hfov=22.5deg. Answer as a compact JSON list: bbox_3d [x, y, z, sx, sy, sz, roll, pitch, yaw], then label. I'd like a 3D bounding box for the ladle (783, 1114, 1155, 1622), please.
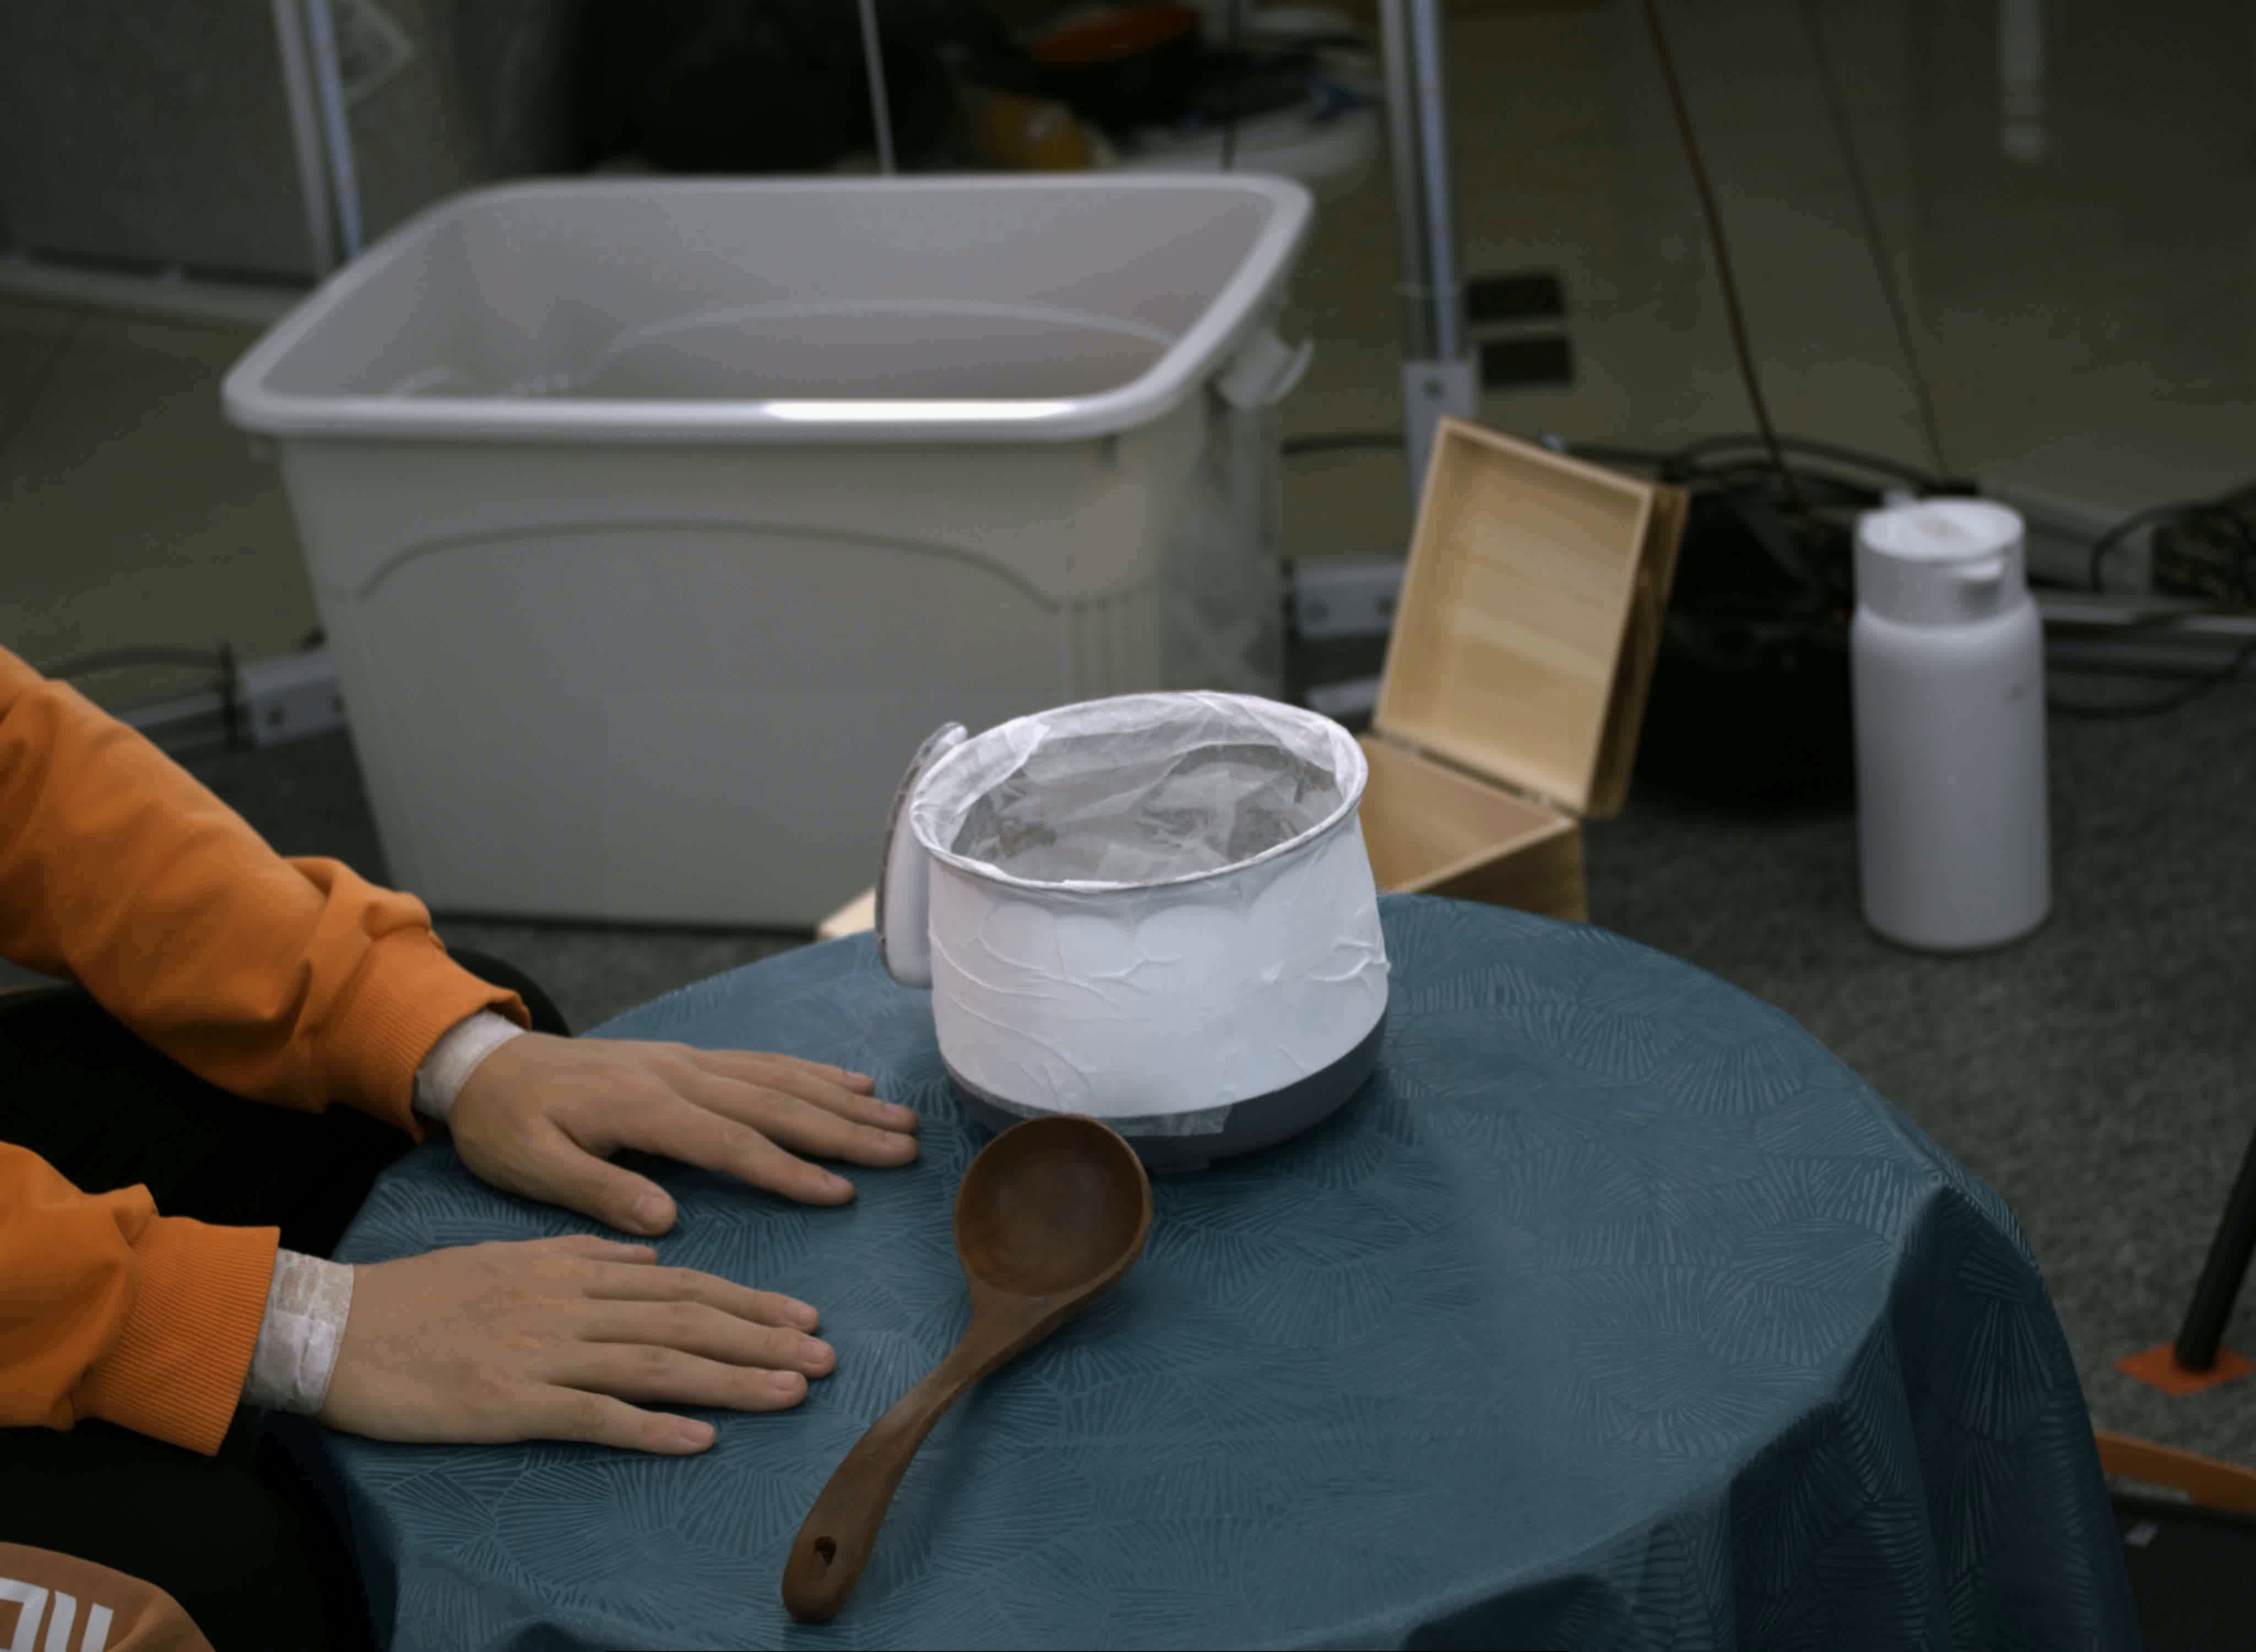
[{"bbox_3d":[-0.063,0.185,1.989,0.076,0.066,0.257,3,26,24],"label":"ladle"}]

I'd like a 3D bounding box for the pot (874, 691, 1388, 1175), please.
[{"bbox_3d":[-0.011,0.036,2.204,0.232,0.139,0.177,15,33,38],"label":"pot"}]
